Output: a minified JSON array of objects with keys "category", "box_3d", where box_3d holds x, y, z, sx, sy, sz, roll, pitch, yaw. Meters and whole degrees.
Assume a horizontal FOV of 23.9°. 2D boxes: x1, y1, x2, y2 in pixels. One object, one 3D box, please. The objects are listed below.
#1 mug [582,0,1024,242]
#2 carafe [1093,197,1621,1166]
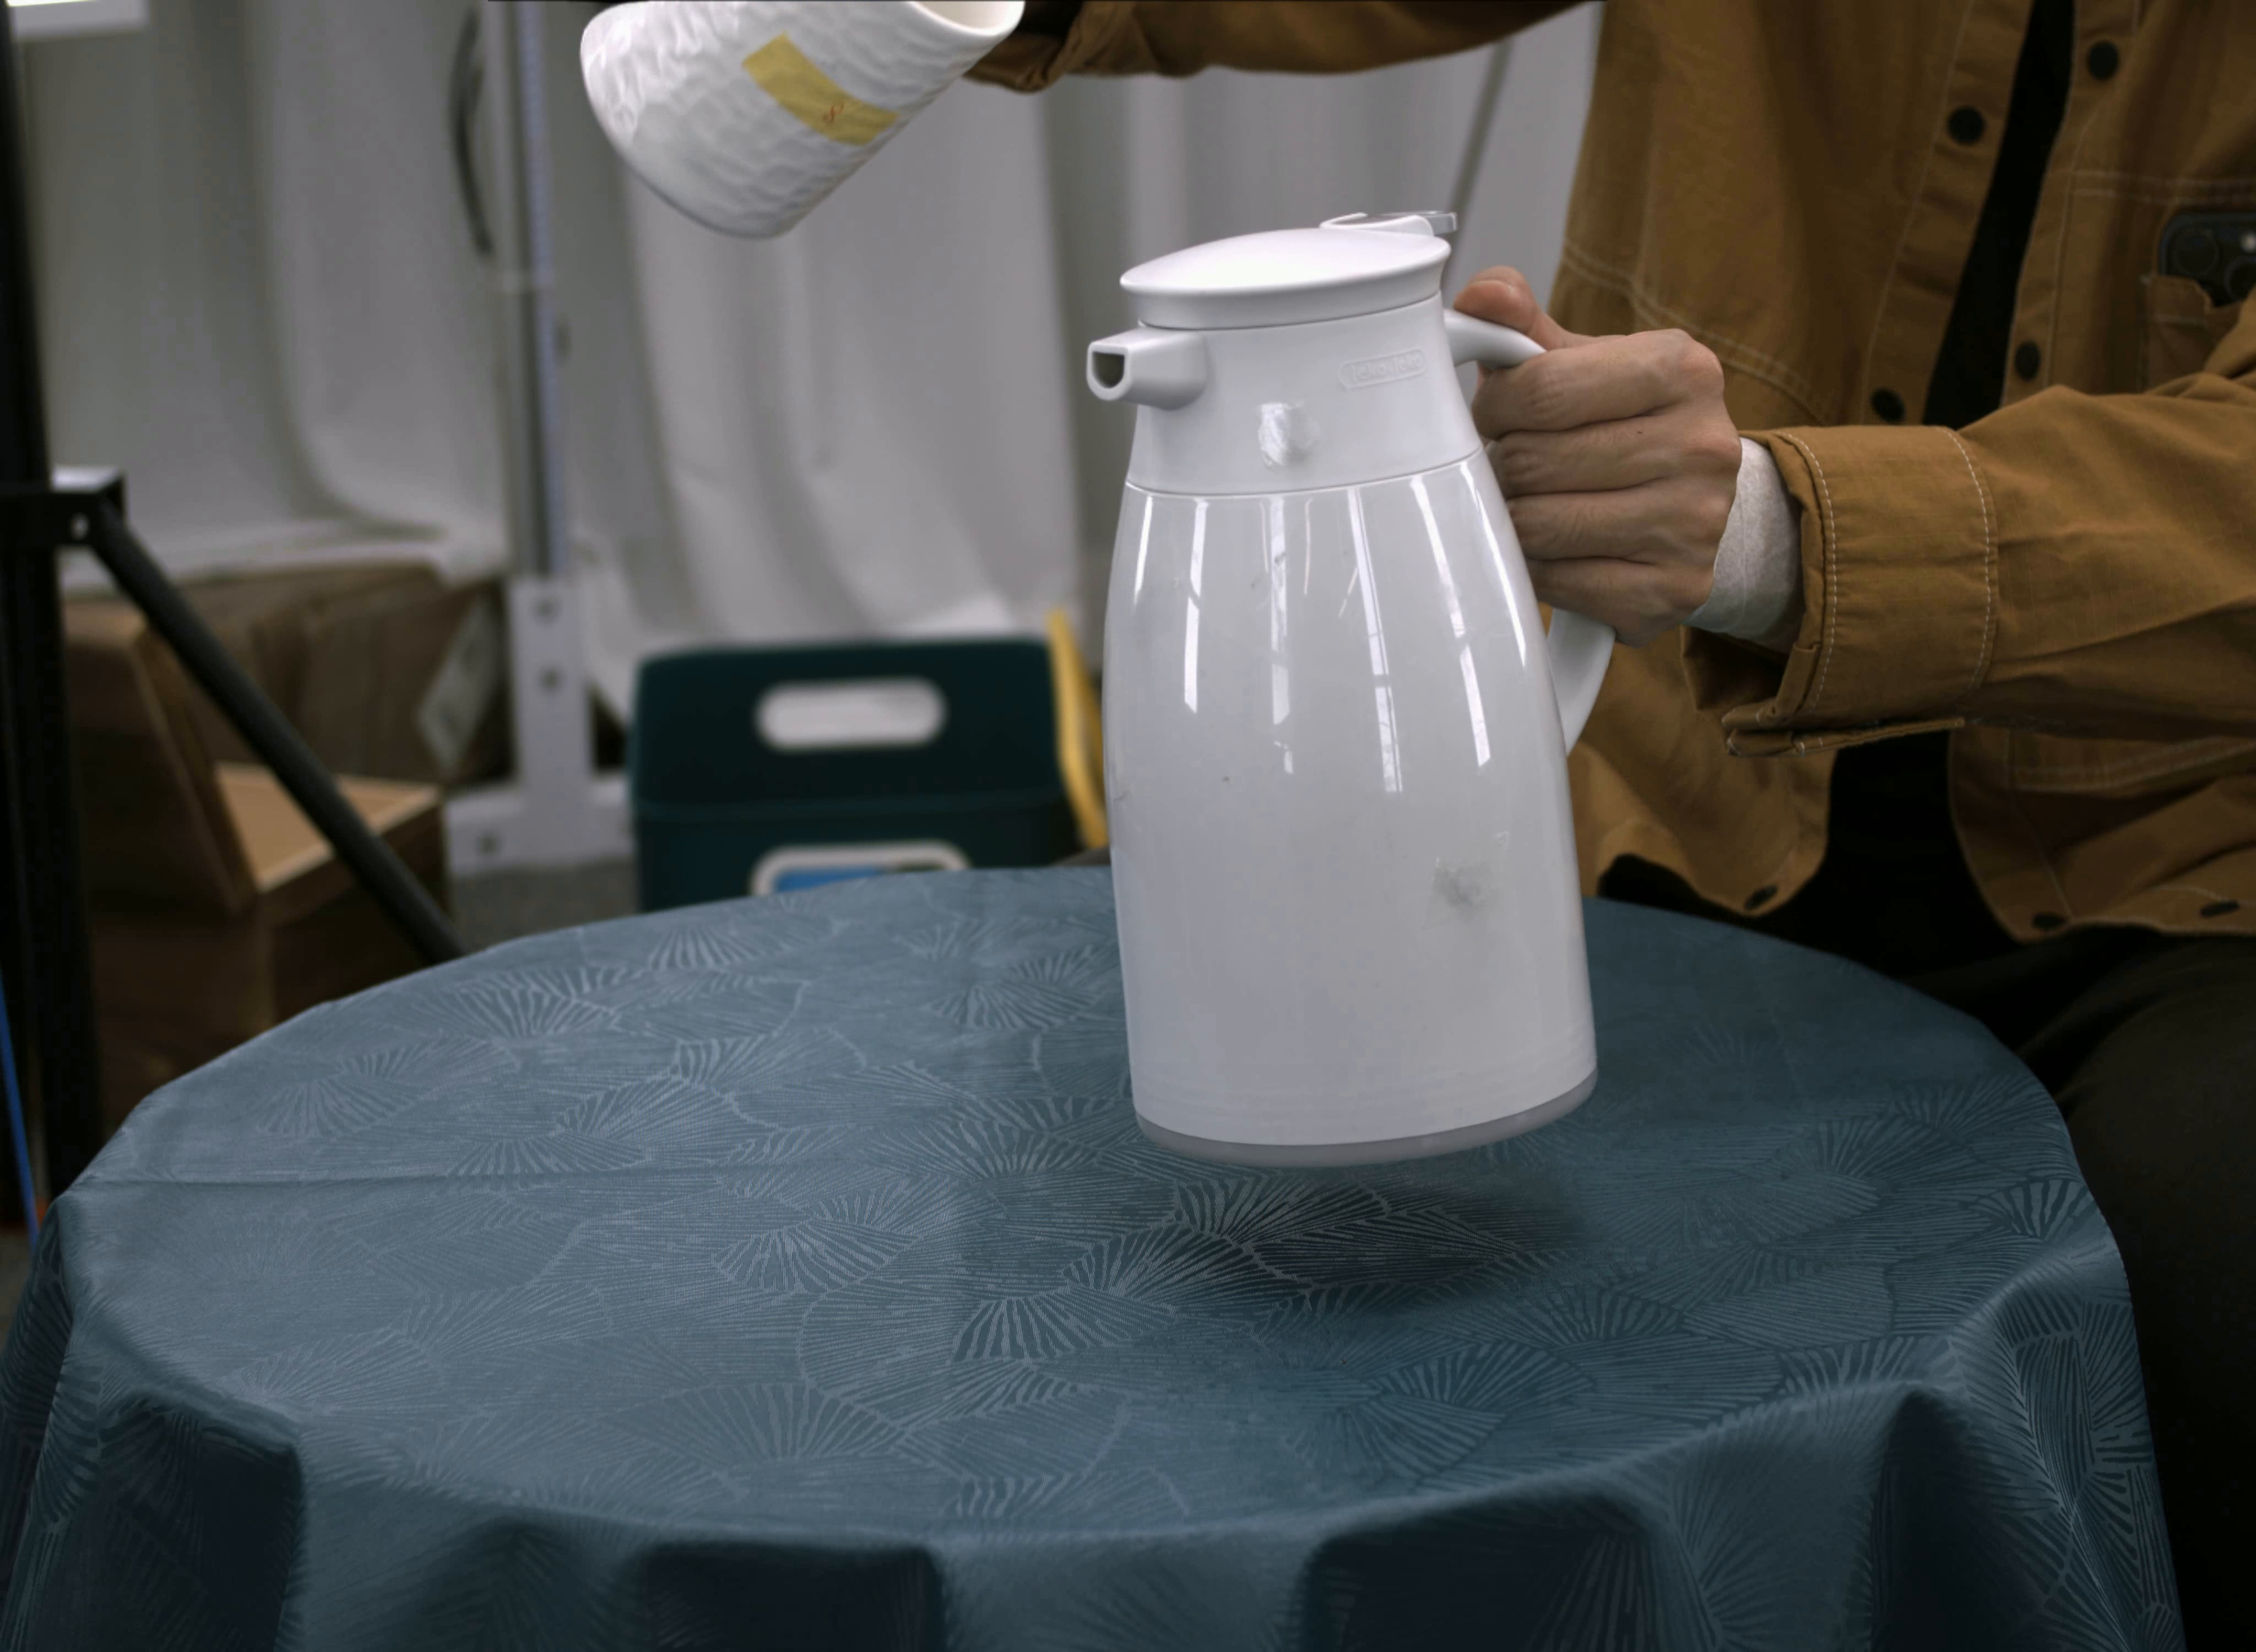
[{"category":"mug","box_3d":[-0.091,-0.235,1.527,0.103,0.084,0.118,-40,17,30]},{"category":"carafe","box_3d":[0.070,-0.047,1.484,0.164,0.249,0.135,-13,13,-33]}]
